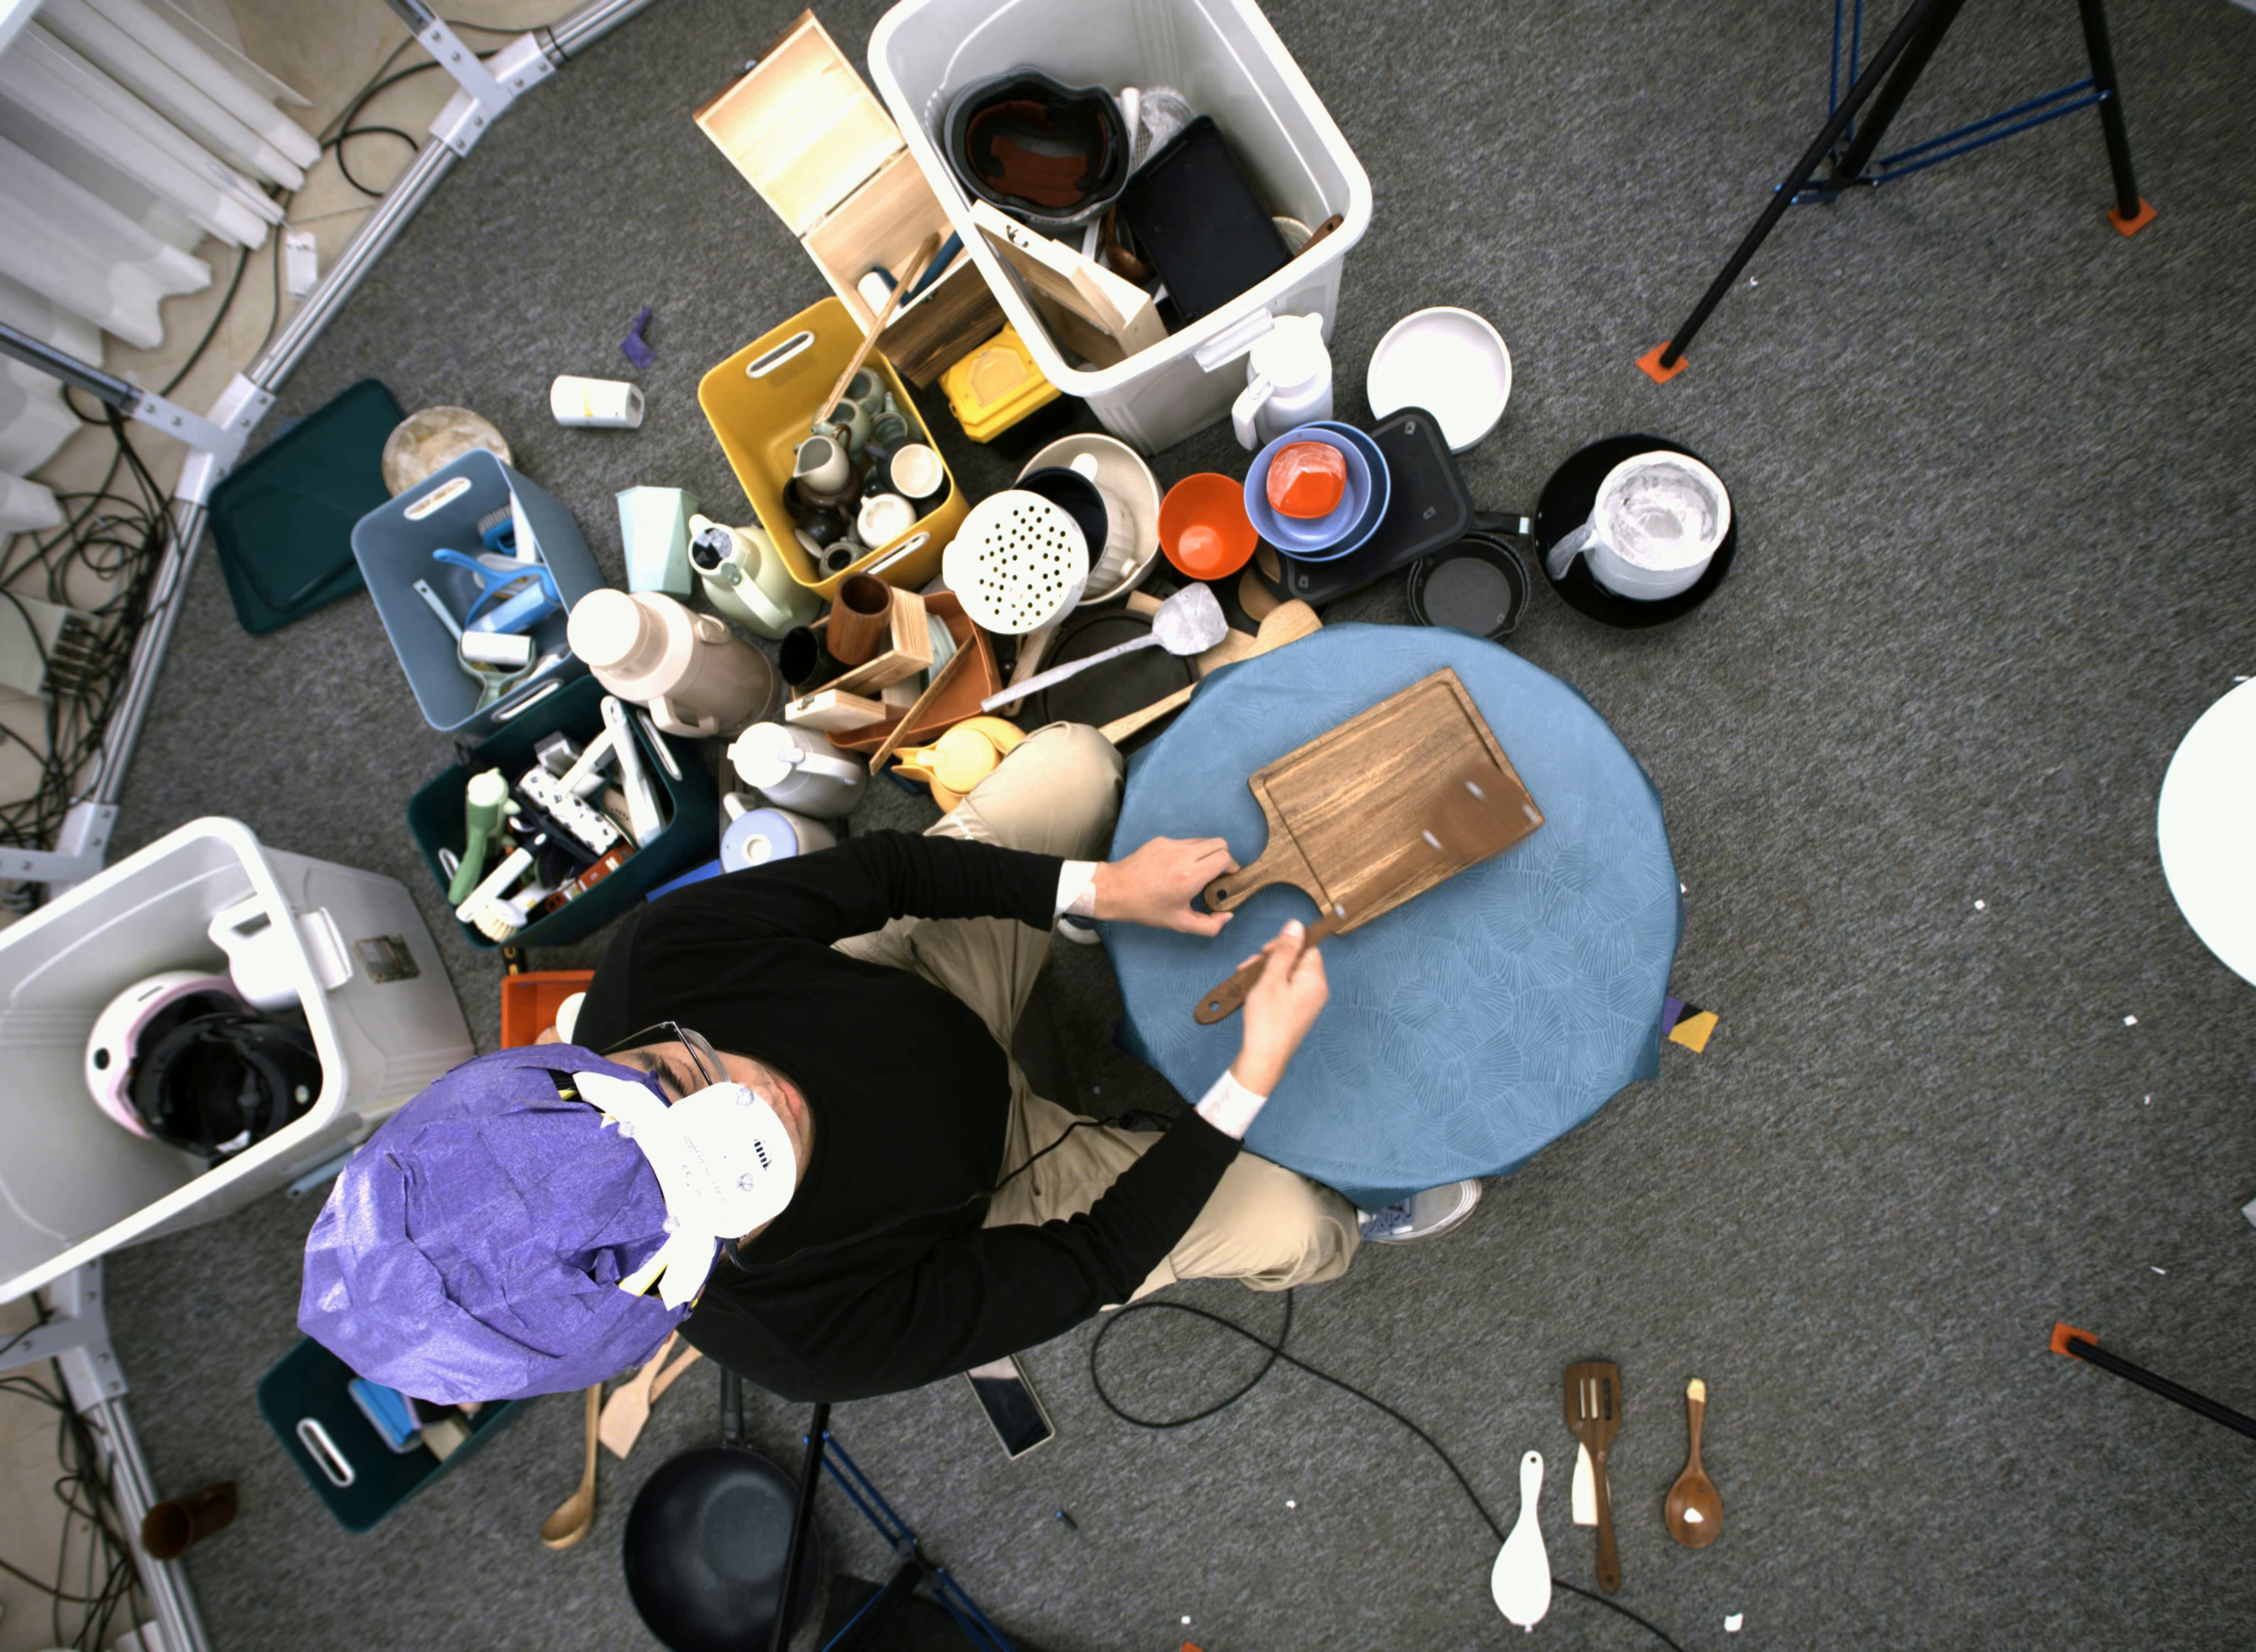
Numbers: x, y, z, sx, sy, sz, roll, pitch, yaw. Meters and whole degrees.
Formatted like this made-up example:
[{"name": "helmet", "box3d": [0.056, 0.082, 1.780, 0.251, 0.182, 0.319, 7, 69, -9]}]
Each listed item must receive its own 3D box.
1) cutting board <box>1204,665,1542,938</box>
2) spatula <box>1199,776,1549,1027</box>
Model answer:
[{"name": "cutting board", "box3d": [0.234, -0.004, 1.447, 0.353, 0.023, 0.200, -30, 82, 3]}, {"name": "spatula", "box3d": [0.229, 0.080, 1.325, 0.386, 0.016, 0.094, -33, 62, -2]}]
